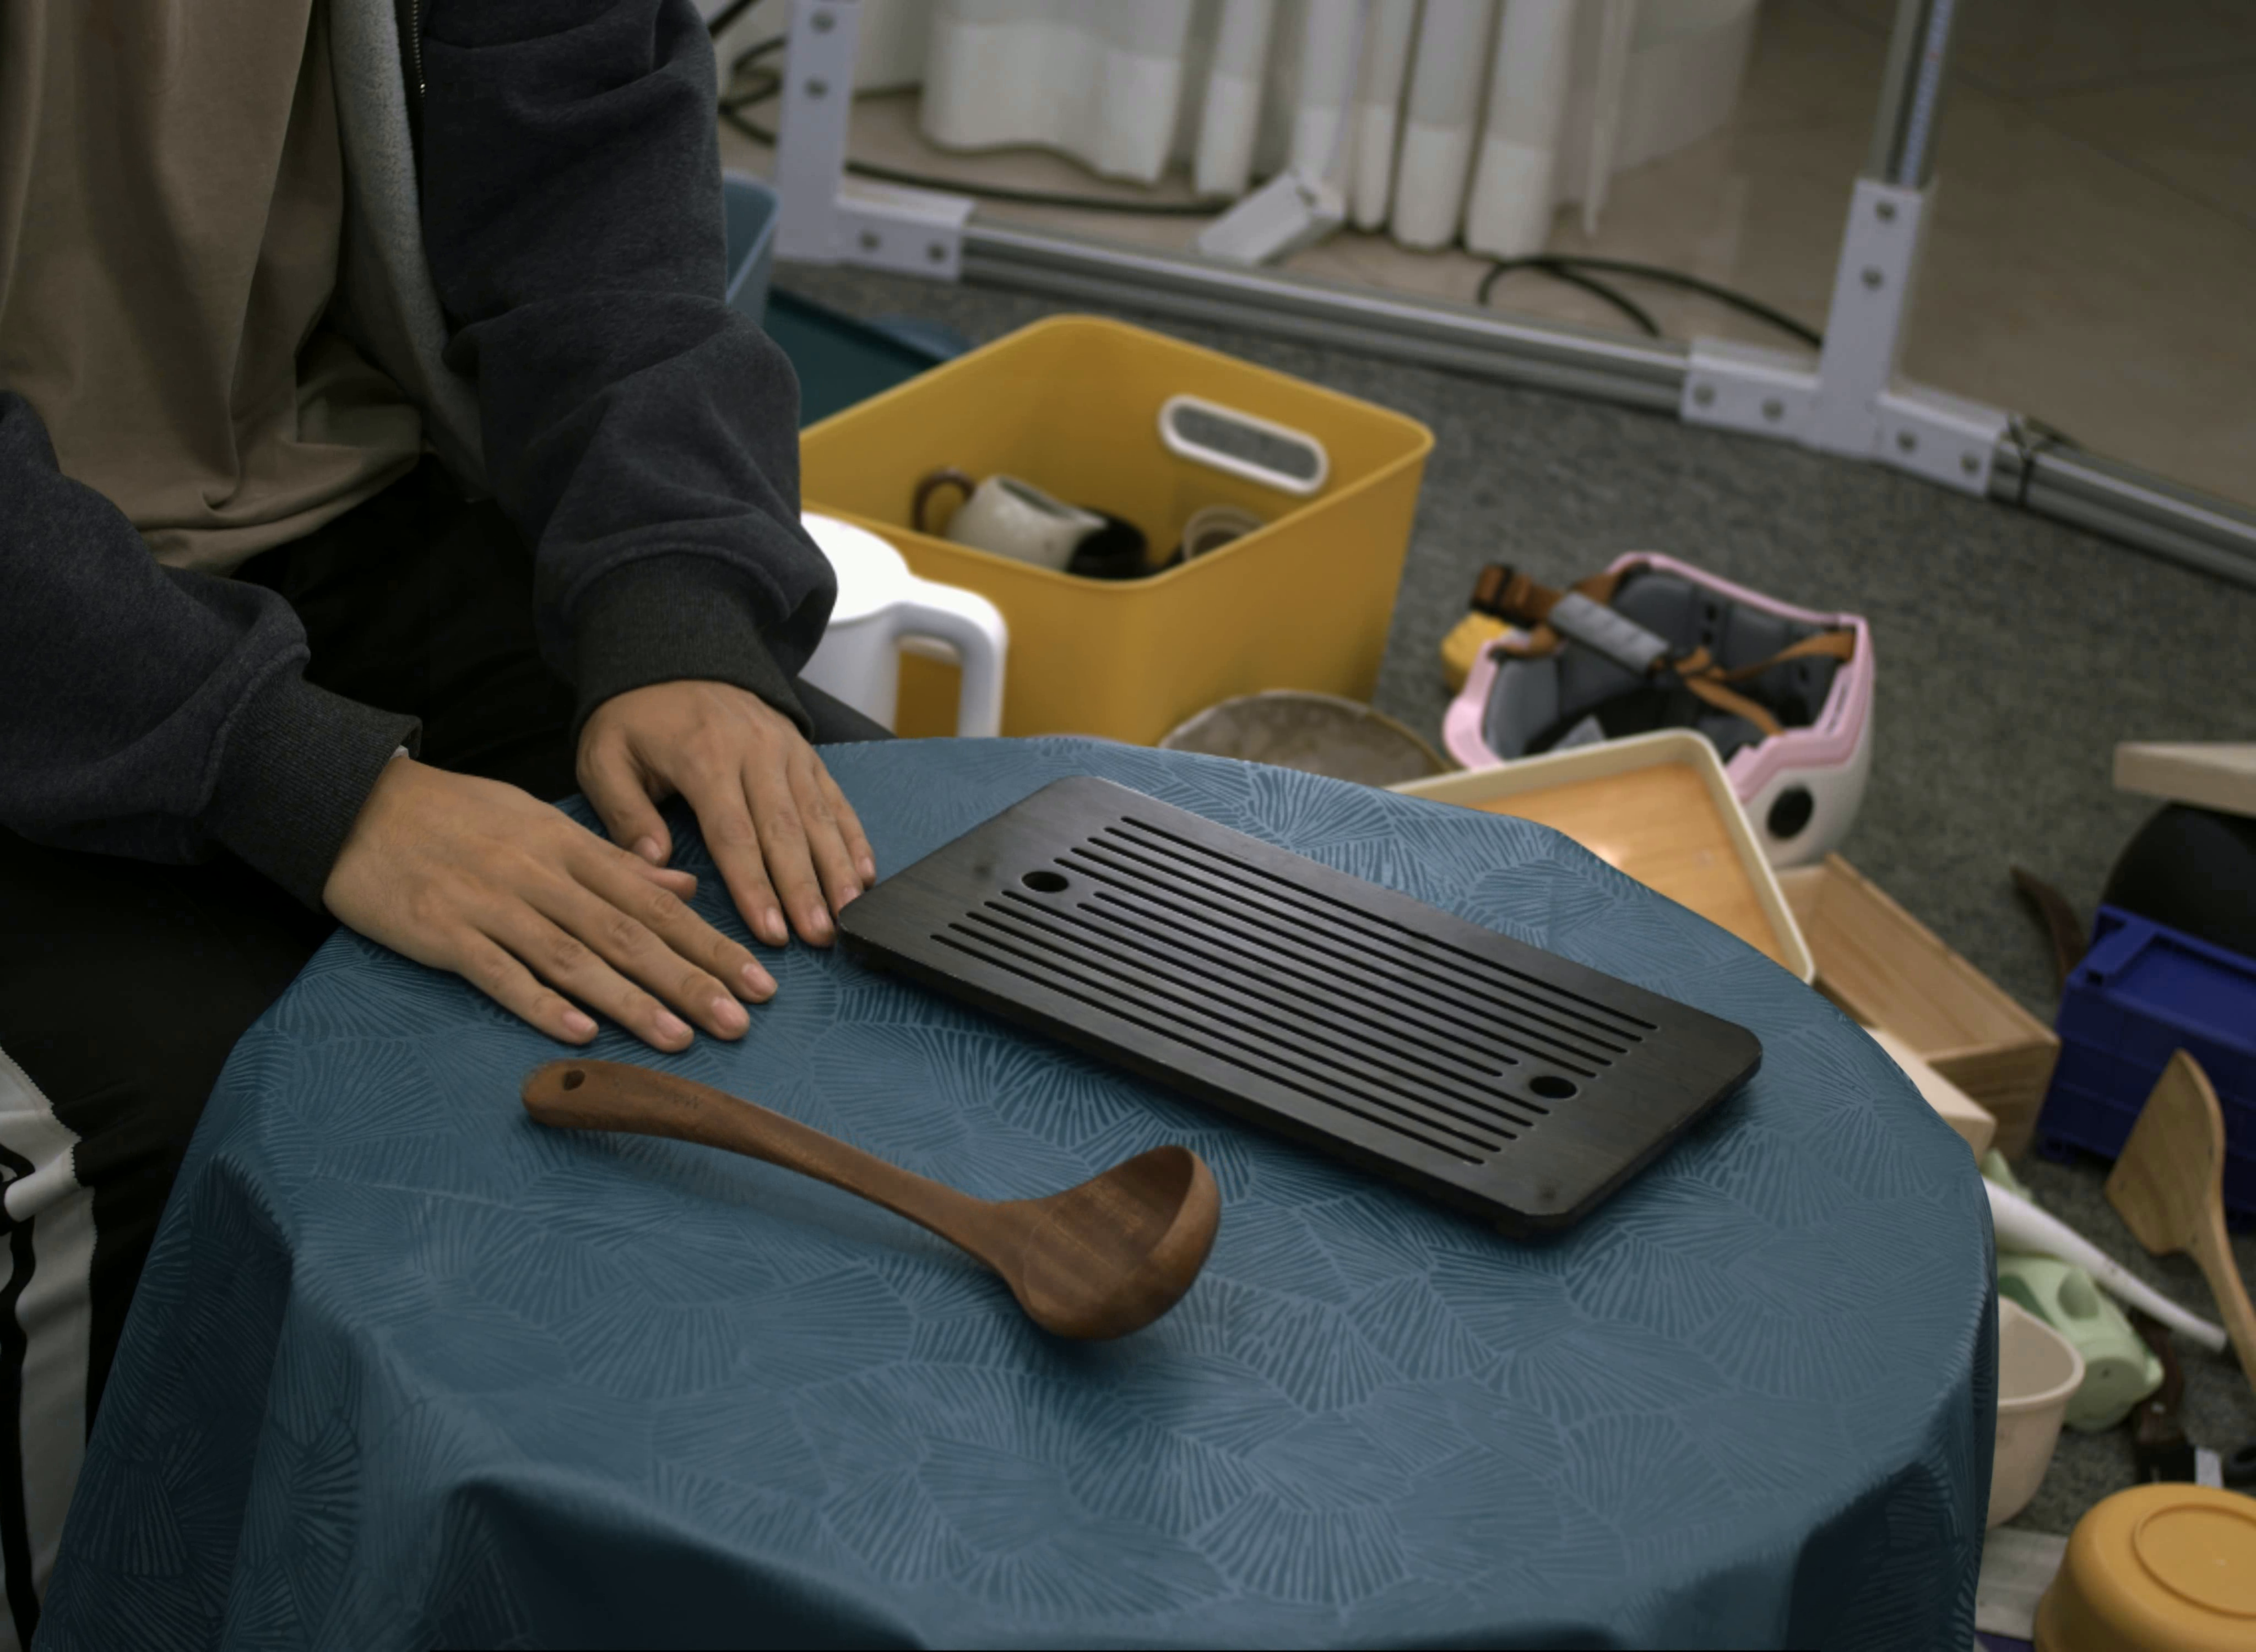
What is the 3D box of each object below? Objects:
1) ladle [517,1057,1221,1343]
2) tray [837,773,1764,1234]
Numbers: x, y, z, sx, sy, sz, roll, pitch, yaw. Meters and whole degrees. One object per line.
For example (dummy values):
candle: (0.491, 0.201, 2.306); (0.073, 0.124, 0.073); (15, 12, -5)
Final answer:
ladle: (-0.090, 0.107, 1.744); (0.261, 0.065, 0.077); (18, 48, 21)
tray: (0.061, 0.061, 1.918); (0.307, 0.018, 0.169); (21, 30, 27)
